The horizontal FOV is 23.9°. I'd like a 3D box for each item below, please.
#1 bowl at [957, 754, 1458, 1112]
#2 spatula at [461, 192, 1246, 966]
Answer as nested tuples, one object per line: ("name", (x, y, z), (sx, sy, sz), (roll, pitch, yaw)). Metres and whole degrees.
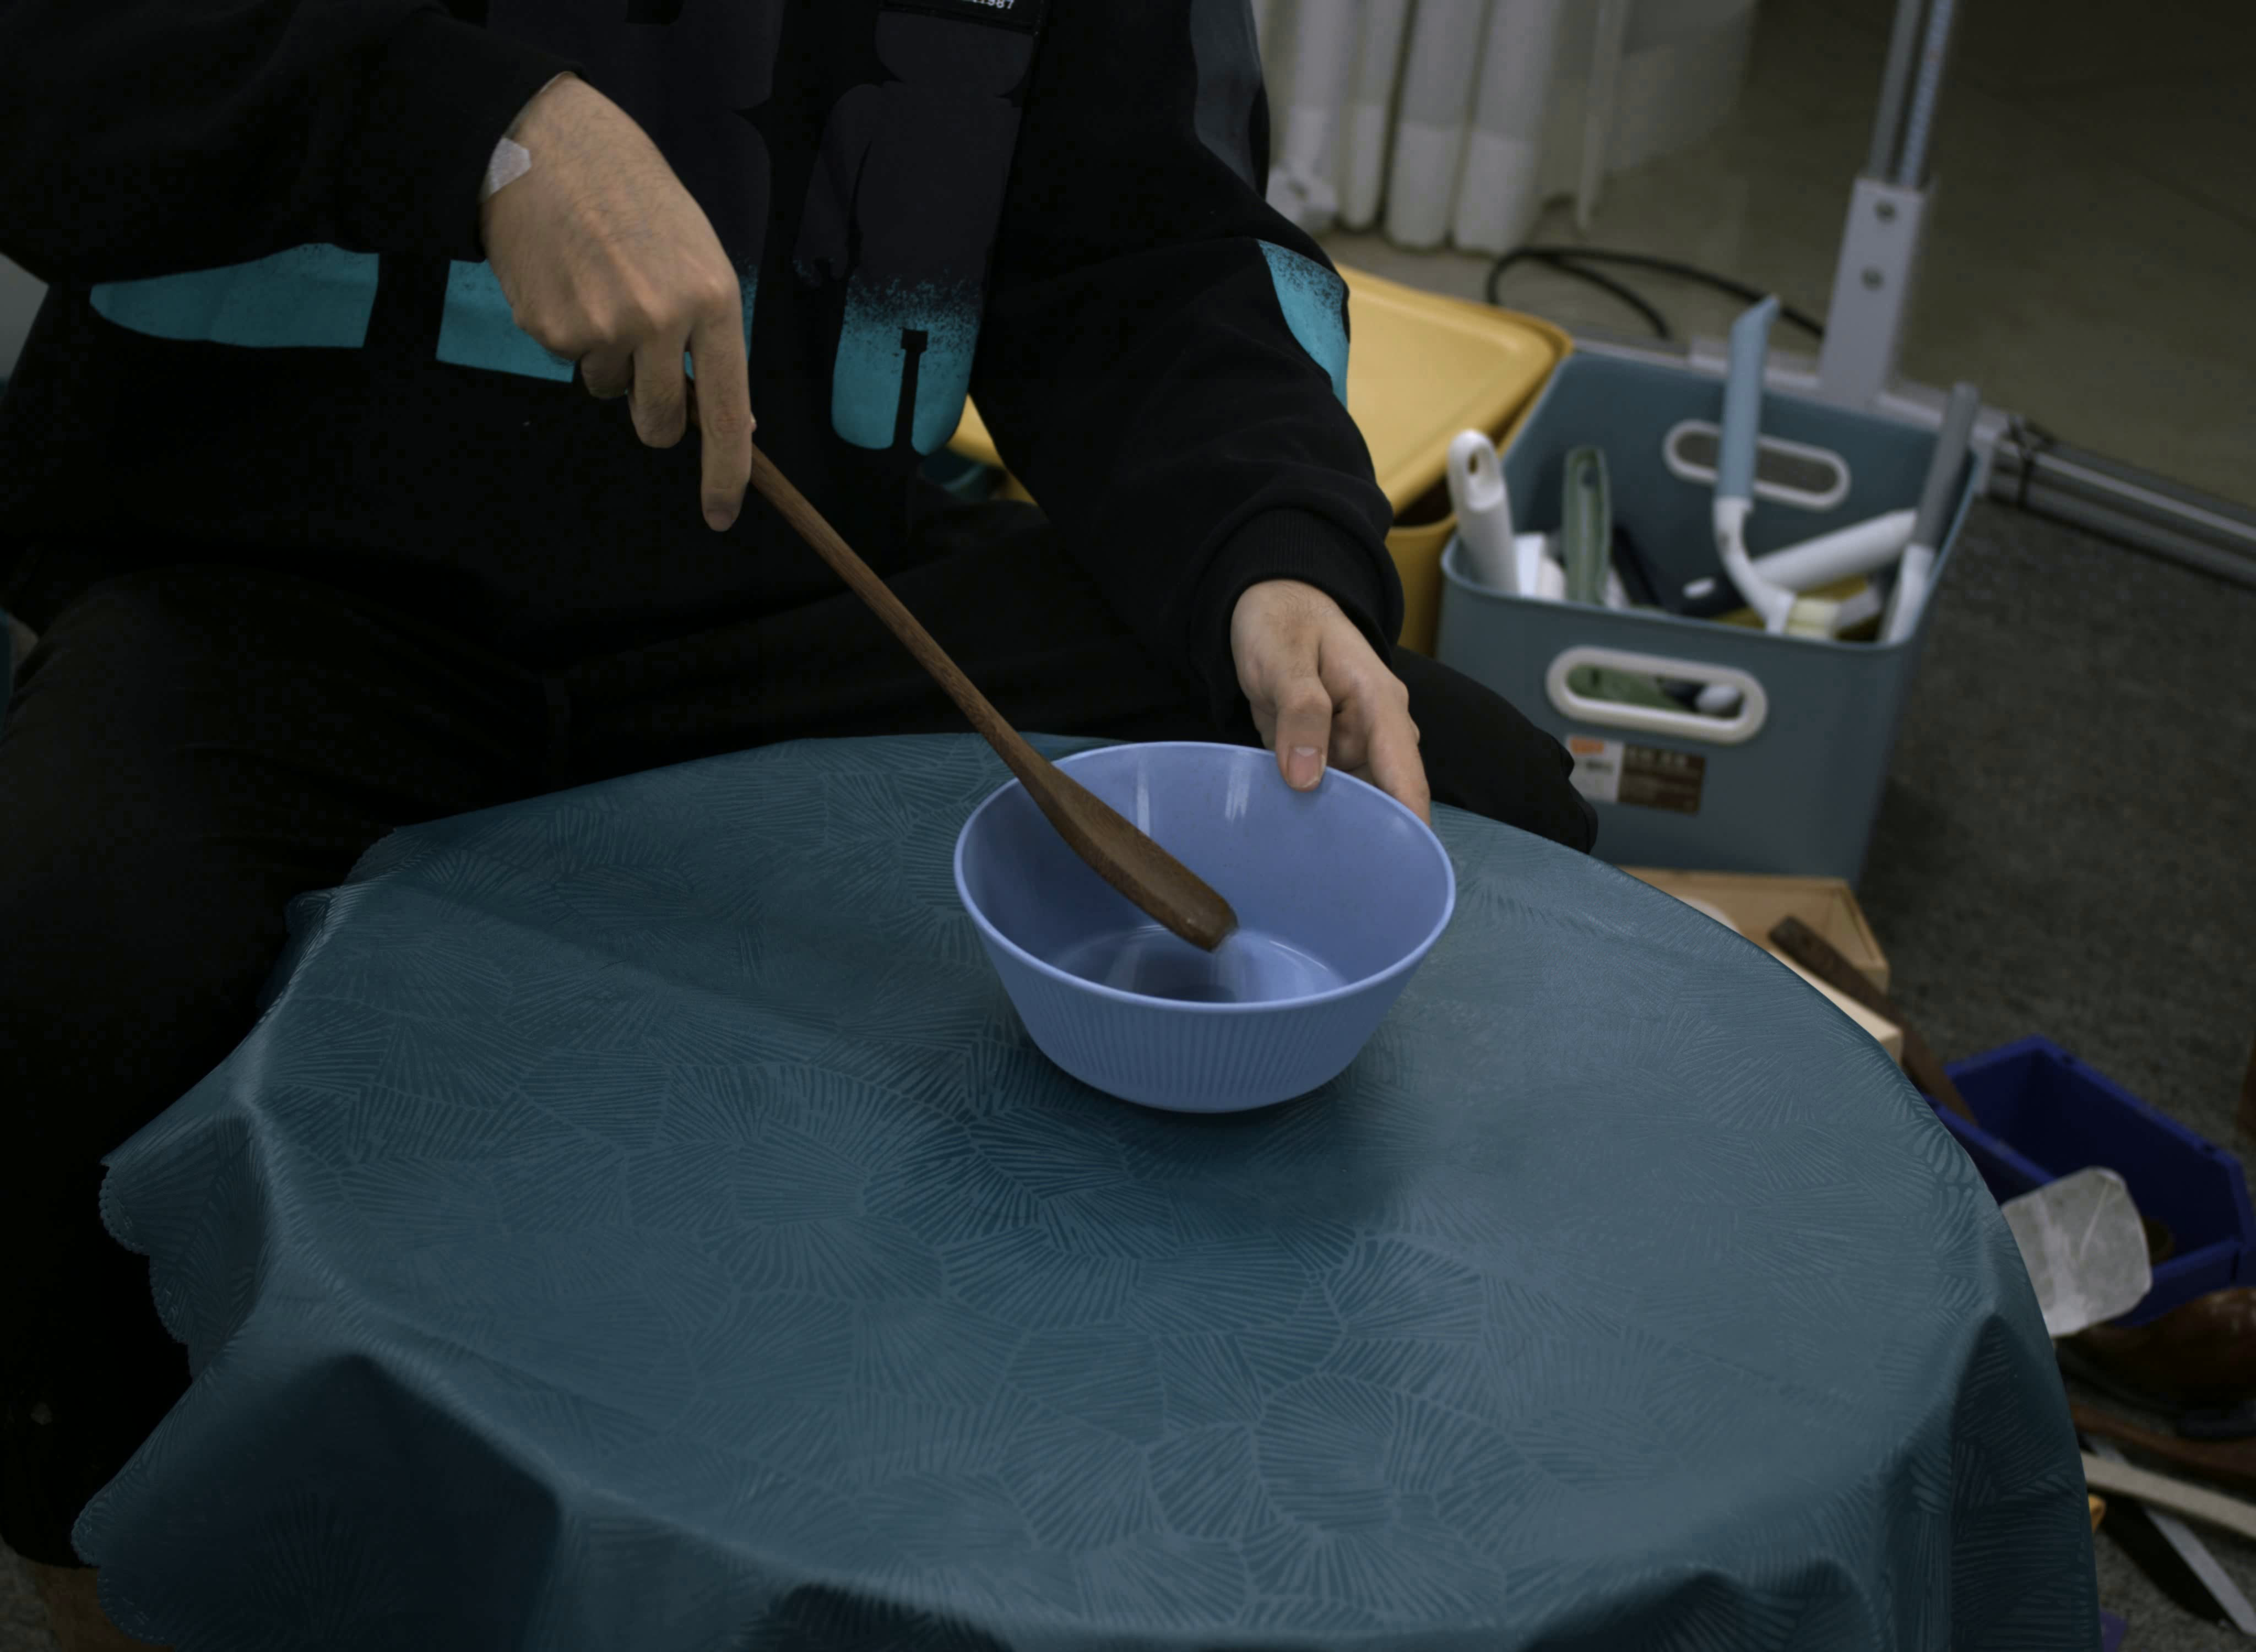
("bowl", (0.026, 0.044, 1.869), (0.175, 0.070, 0.177), (2, 29, -1))
("spatula", (-0.096, -0.088, 1.875), (0.386, 0.016, 0.096), (46, 9, 1))
